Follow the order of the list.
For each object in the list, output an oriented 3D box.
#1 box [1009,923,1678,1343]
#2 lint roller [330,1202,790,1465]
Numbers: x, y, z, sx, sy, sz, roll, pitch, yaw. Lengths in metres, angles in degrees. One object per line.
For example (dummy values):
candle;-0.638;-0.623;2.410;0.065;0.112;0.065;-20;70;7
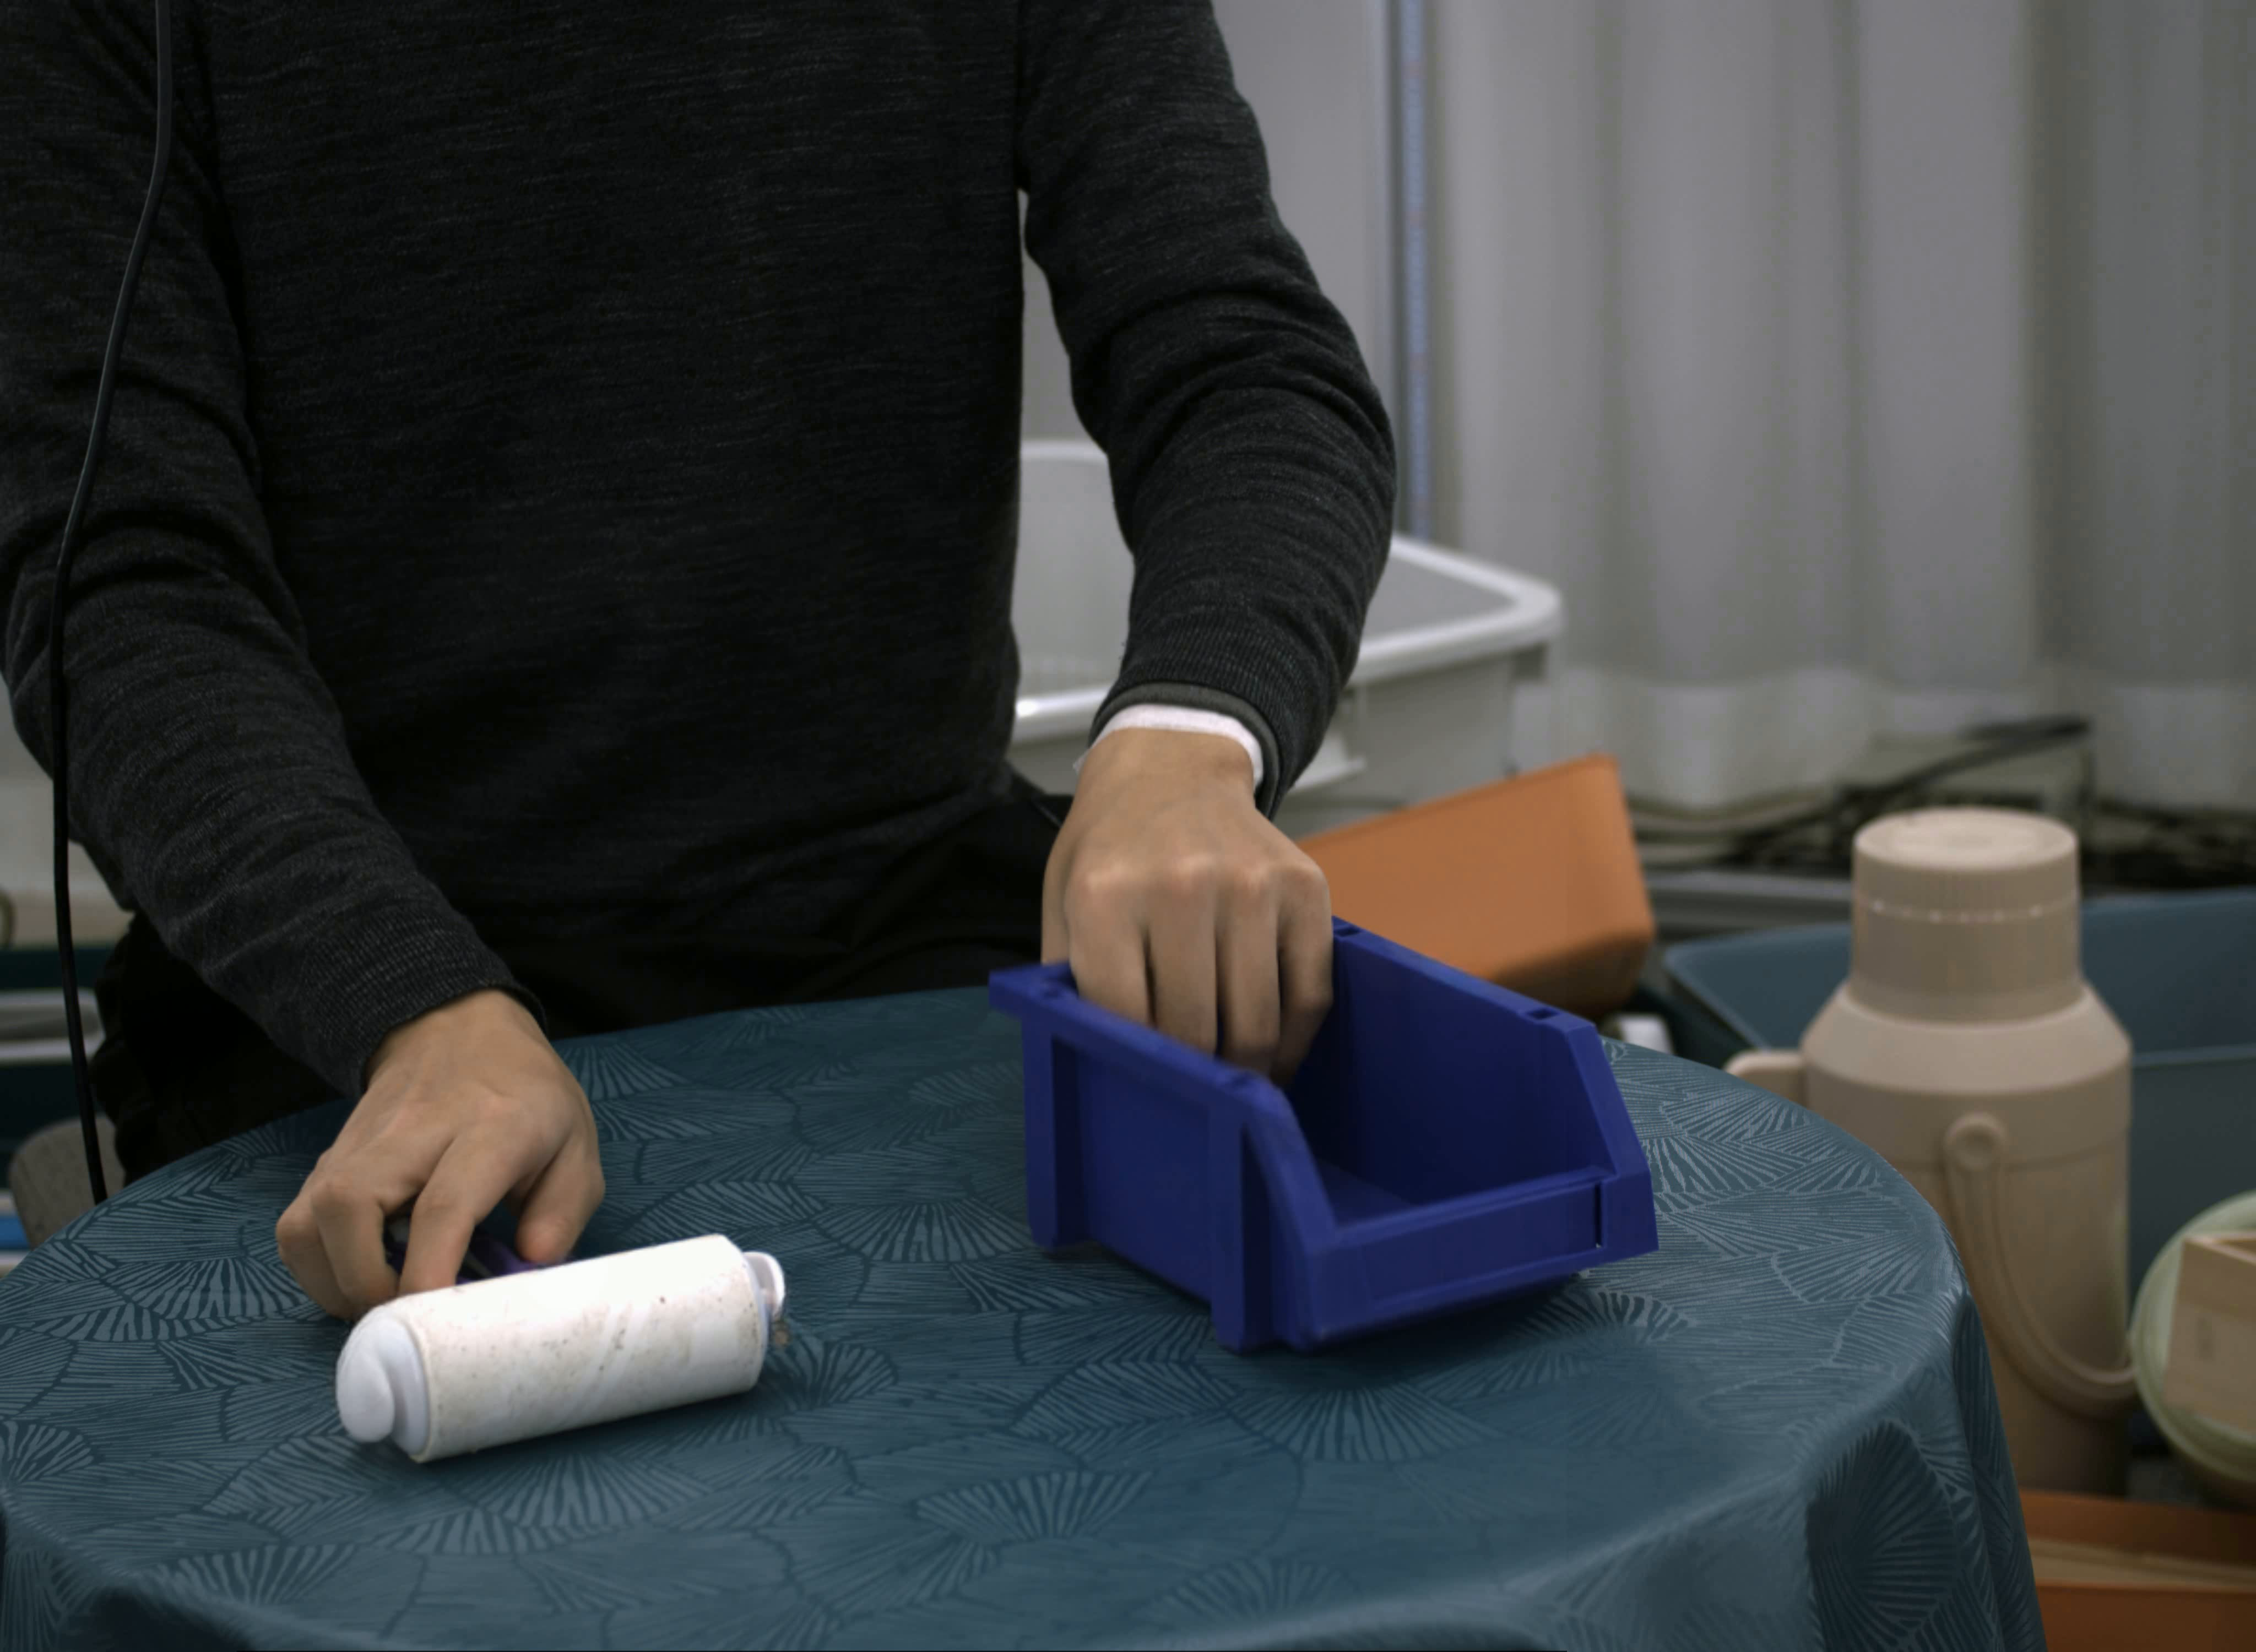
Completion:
box;0.063;0.092;1.616;0.124;0.081;0.180;-8;14;-30
lint roller;-0.185;0.128;1.593;0.132;0.050;0.182;-10;22;-23
